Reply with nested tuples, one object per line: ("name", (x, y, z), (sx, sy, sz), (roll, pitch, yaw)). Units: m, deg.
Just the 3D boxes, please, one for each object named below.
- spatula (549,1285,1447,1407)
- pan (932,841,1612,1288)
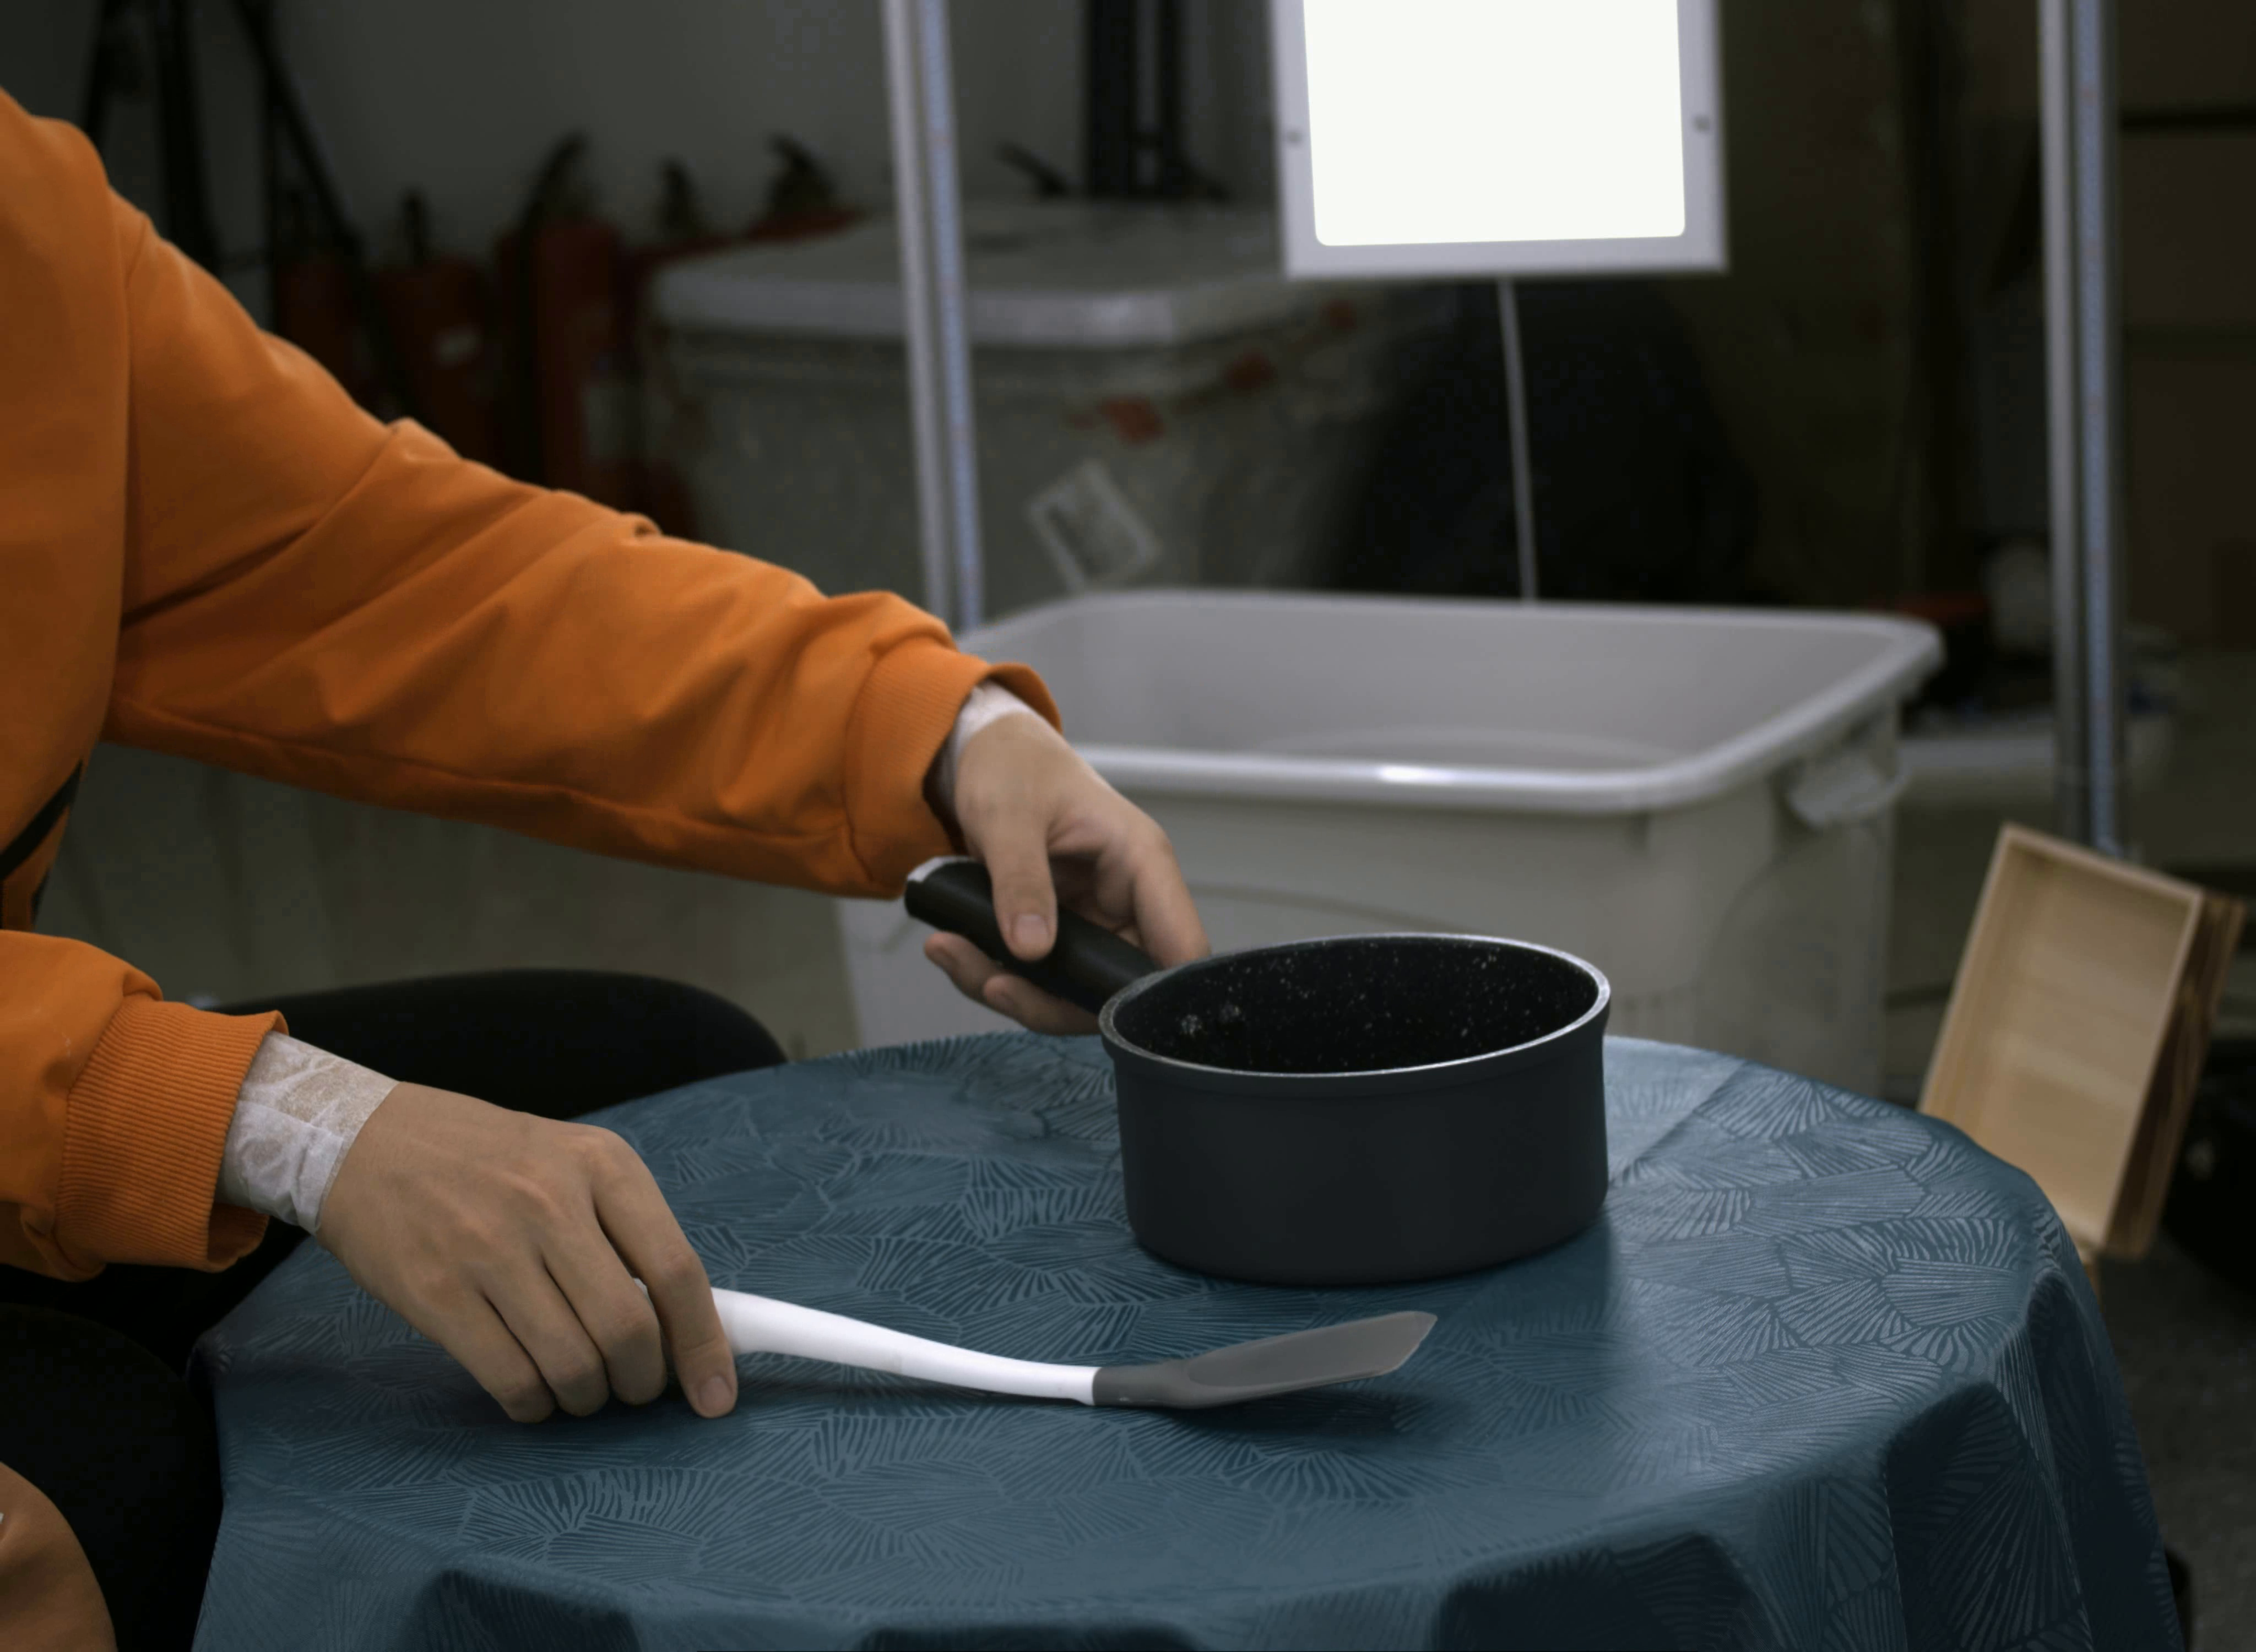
("spatula", (-0.042, 0.162, 1.703), (0.291, 0.032, 0.057), (0, 11, 21))
("pan", (0.033, 0.078, 1.905), (0.168, 0.087, 0.335), (-13, 17, -32))
